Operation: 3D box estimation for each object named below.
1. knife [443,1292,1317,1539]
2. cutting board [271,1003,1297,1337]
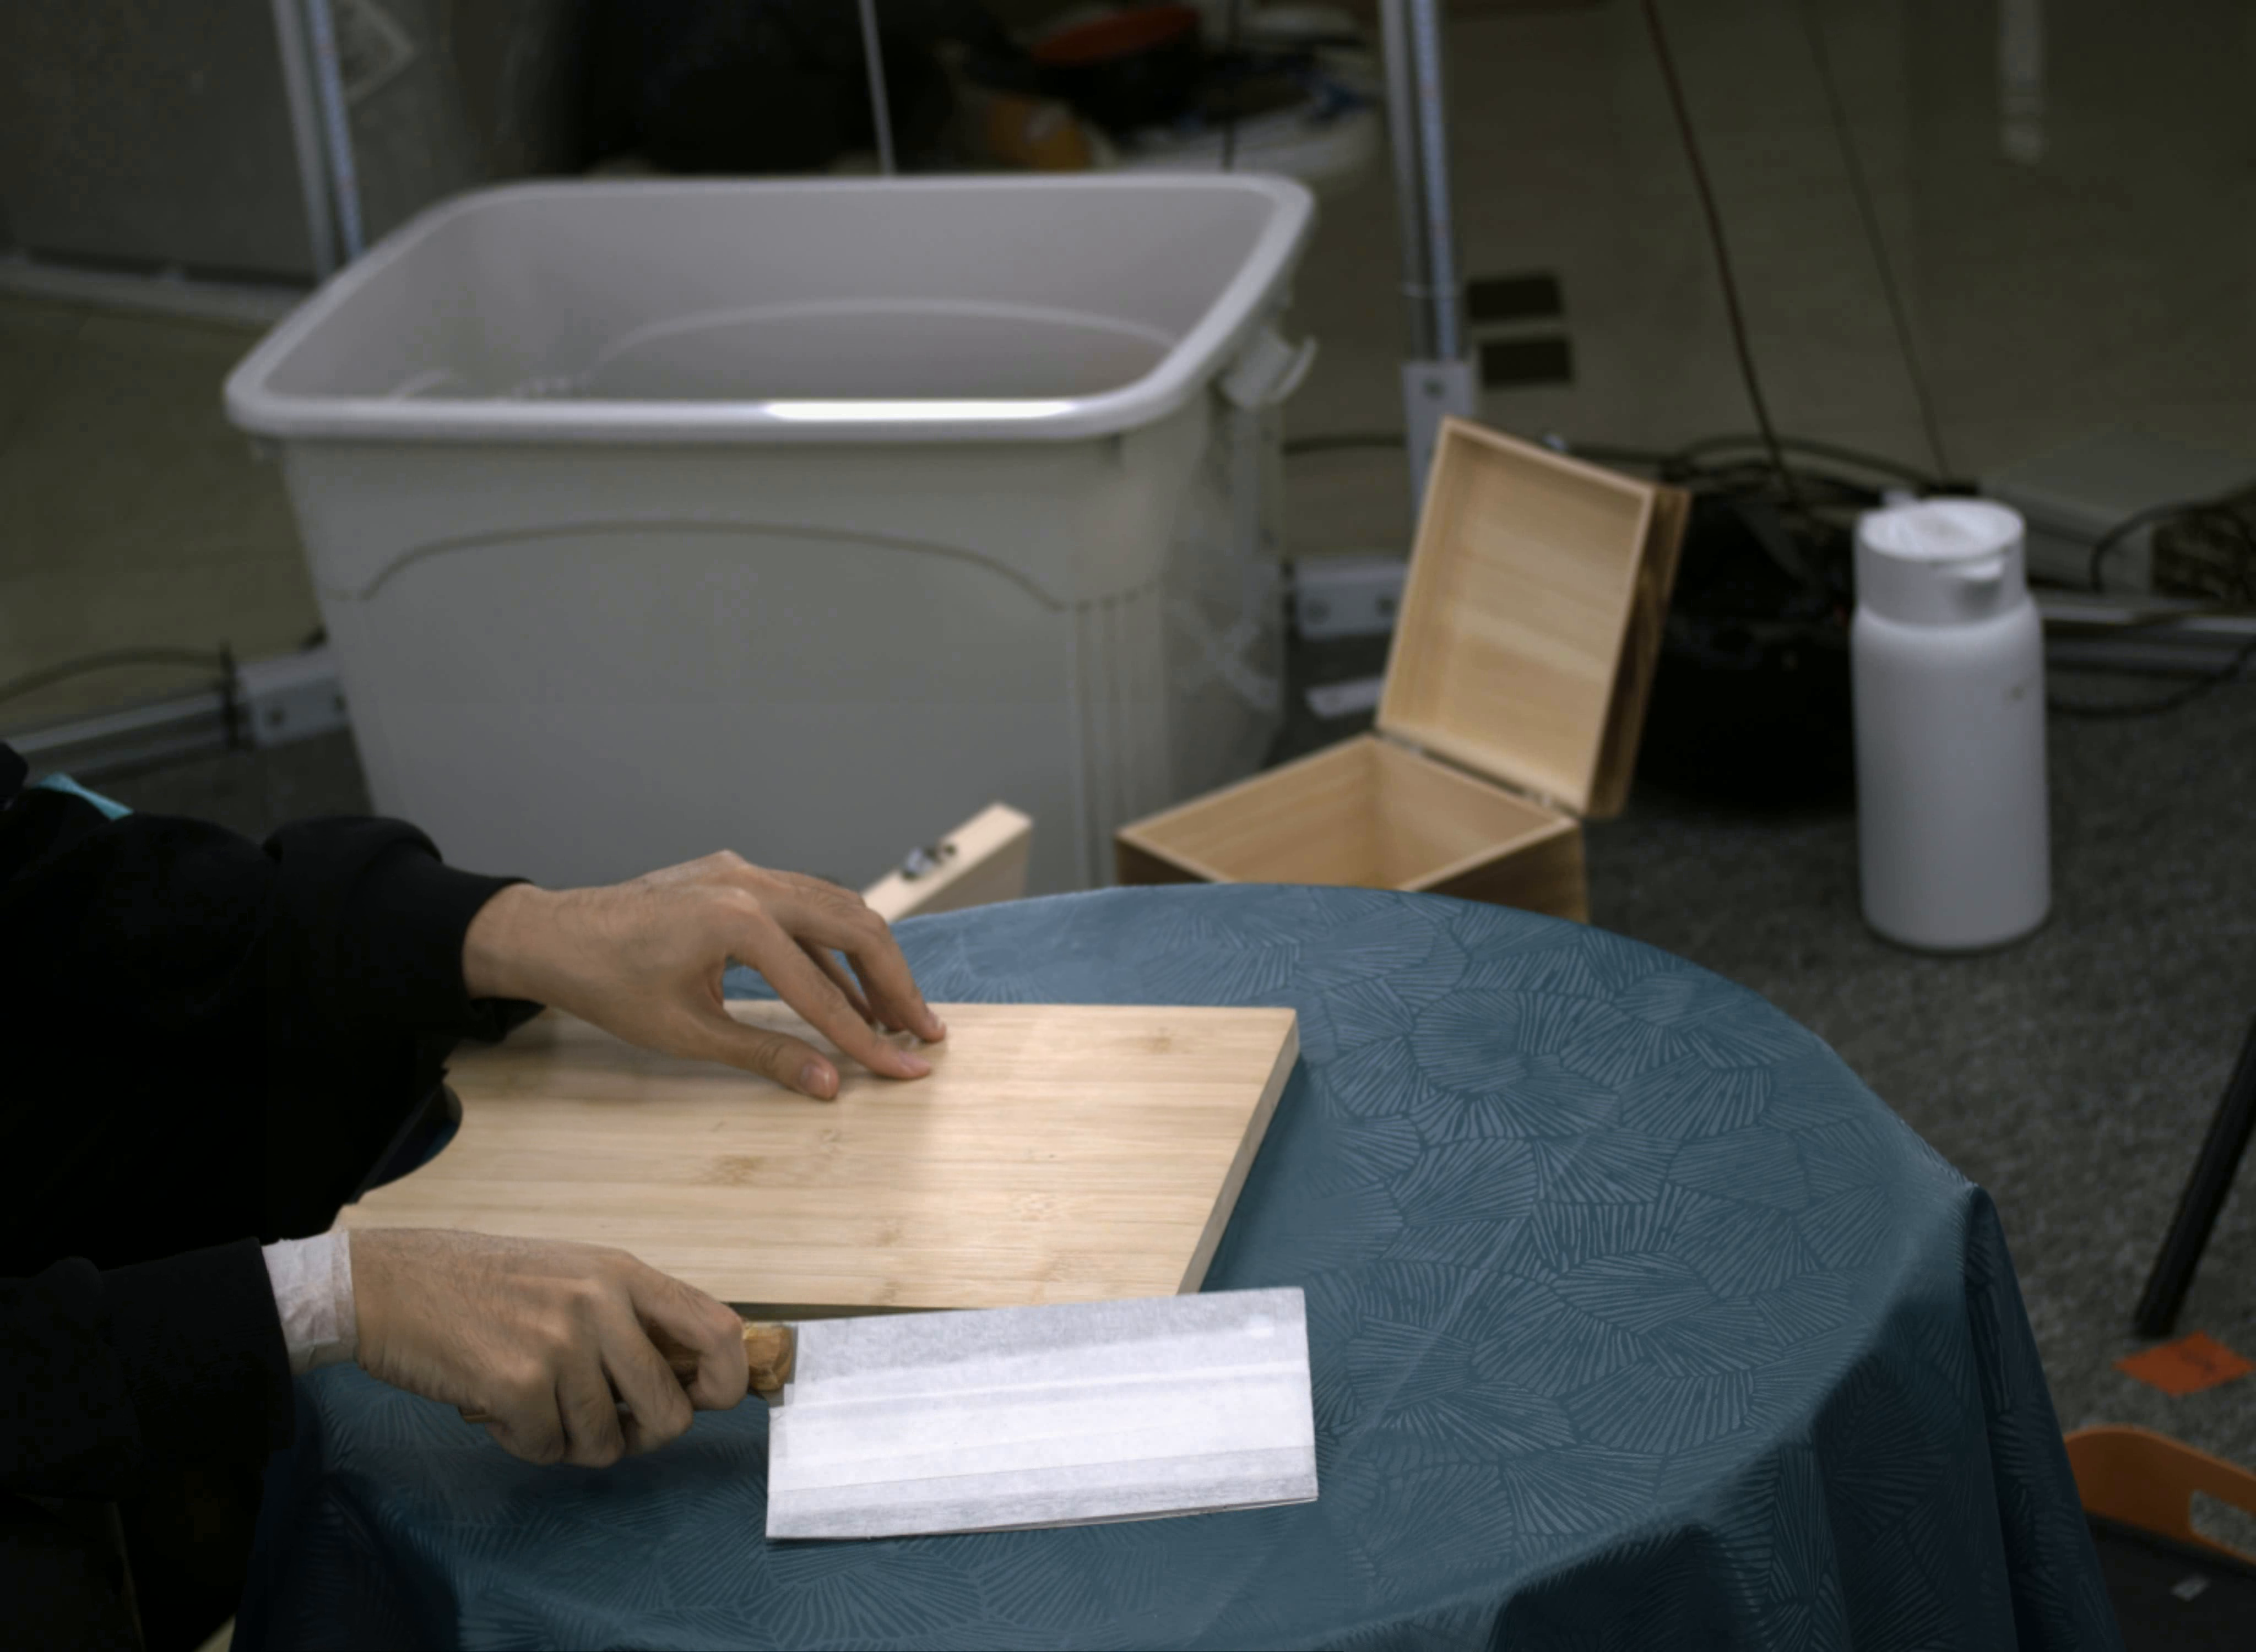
[{"bbox_3d":[-0.087,0.207,1.970,0.305,0.021,0.091,-4,49,1],"label":"knife"},{"bbox_3d":[-0.126,0.131,2.178,0.348,0.024,0.247,0,25,14],"label":"cutting board"}]
